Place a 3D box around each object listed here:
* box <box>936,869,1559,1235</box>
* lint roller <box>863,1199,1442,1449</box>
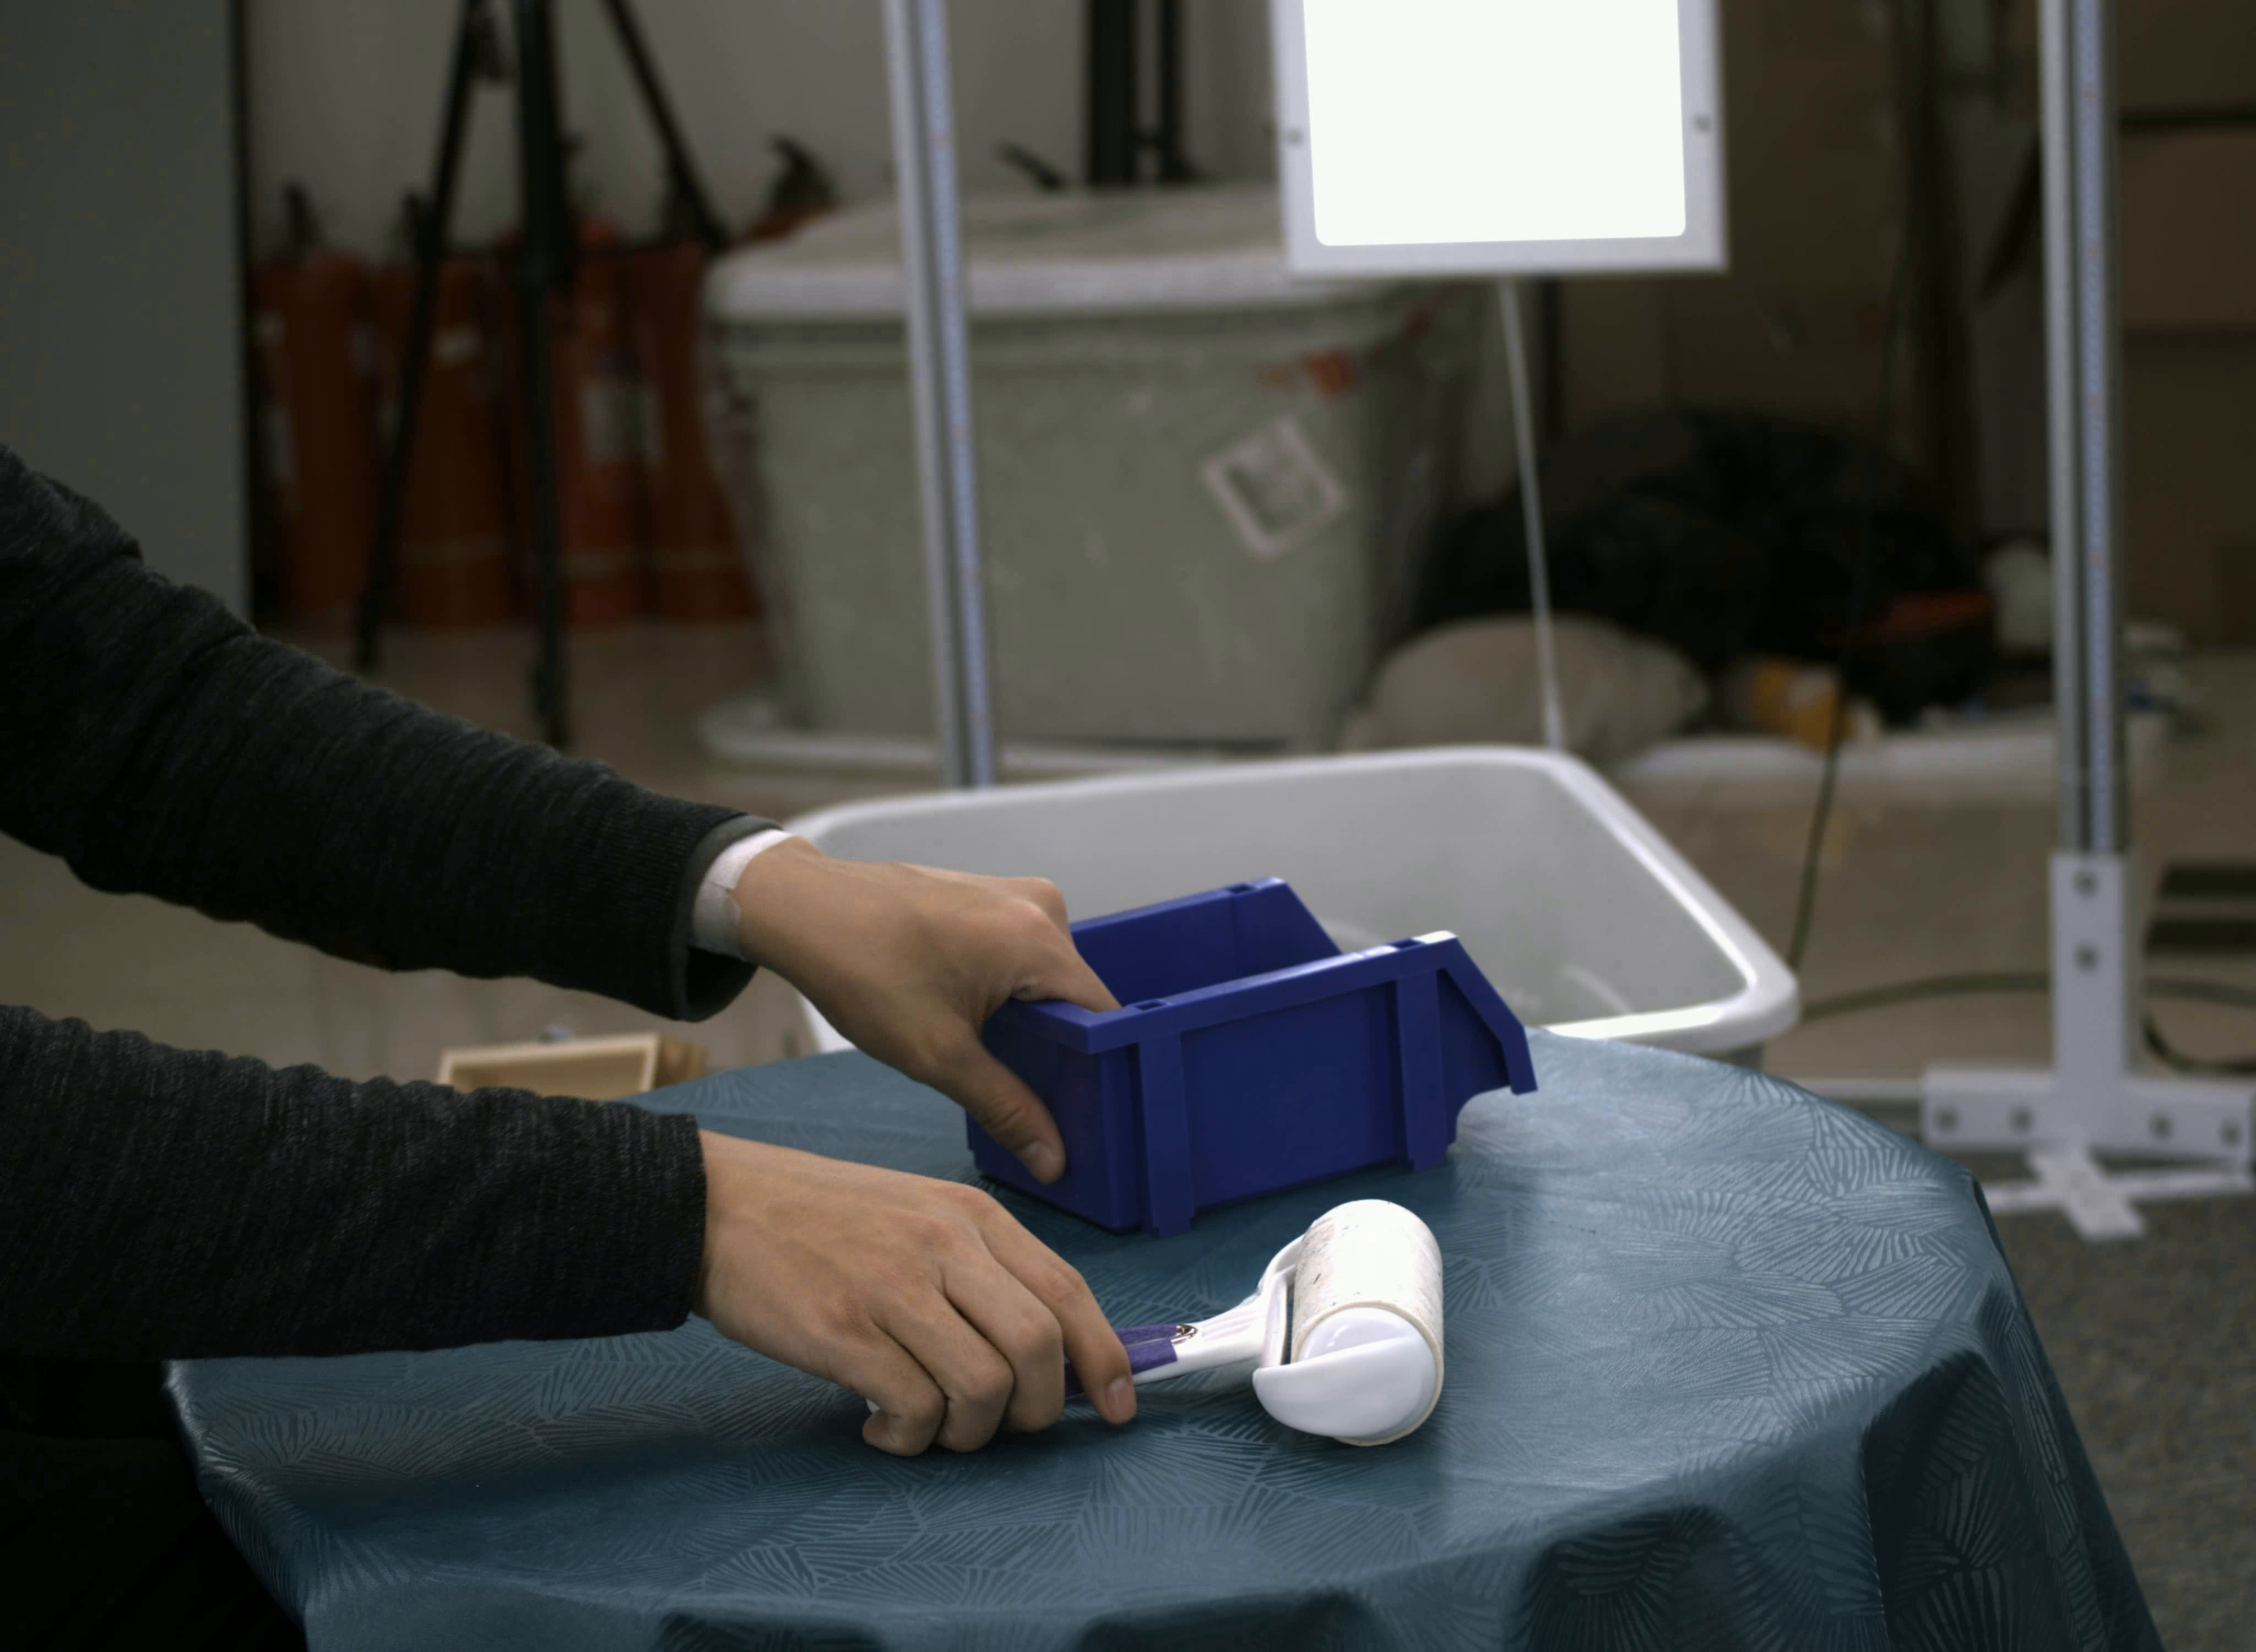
[{"bbox_3d":[0.042,0.075,1.923,0.175,0.082,0.127,-15,16,-26],"label":"box"},{"bbox_3d":[0.008,0.154,1.686,0.181,0.050,0.132,-2,15,7],"label":"lint roller"}]
